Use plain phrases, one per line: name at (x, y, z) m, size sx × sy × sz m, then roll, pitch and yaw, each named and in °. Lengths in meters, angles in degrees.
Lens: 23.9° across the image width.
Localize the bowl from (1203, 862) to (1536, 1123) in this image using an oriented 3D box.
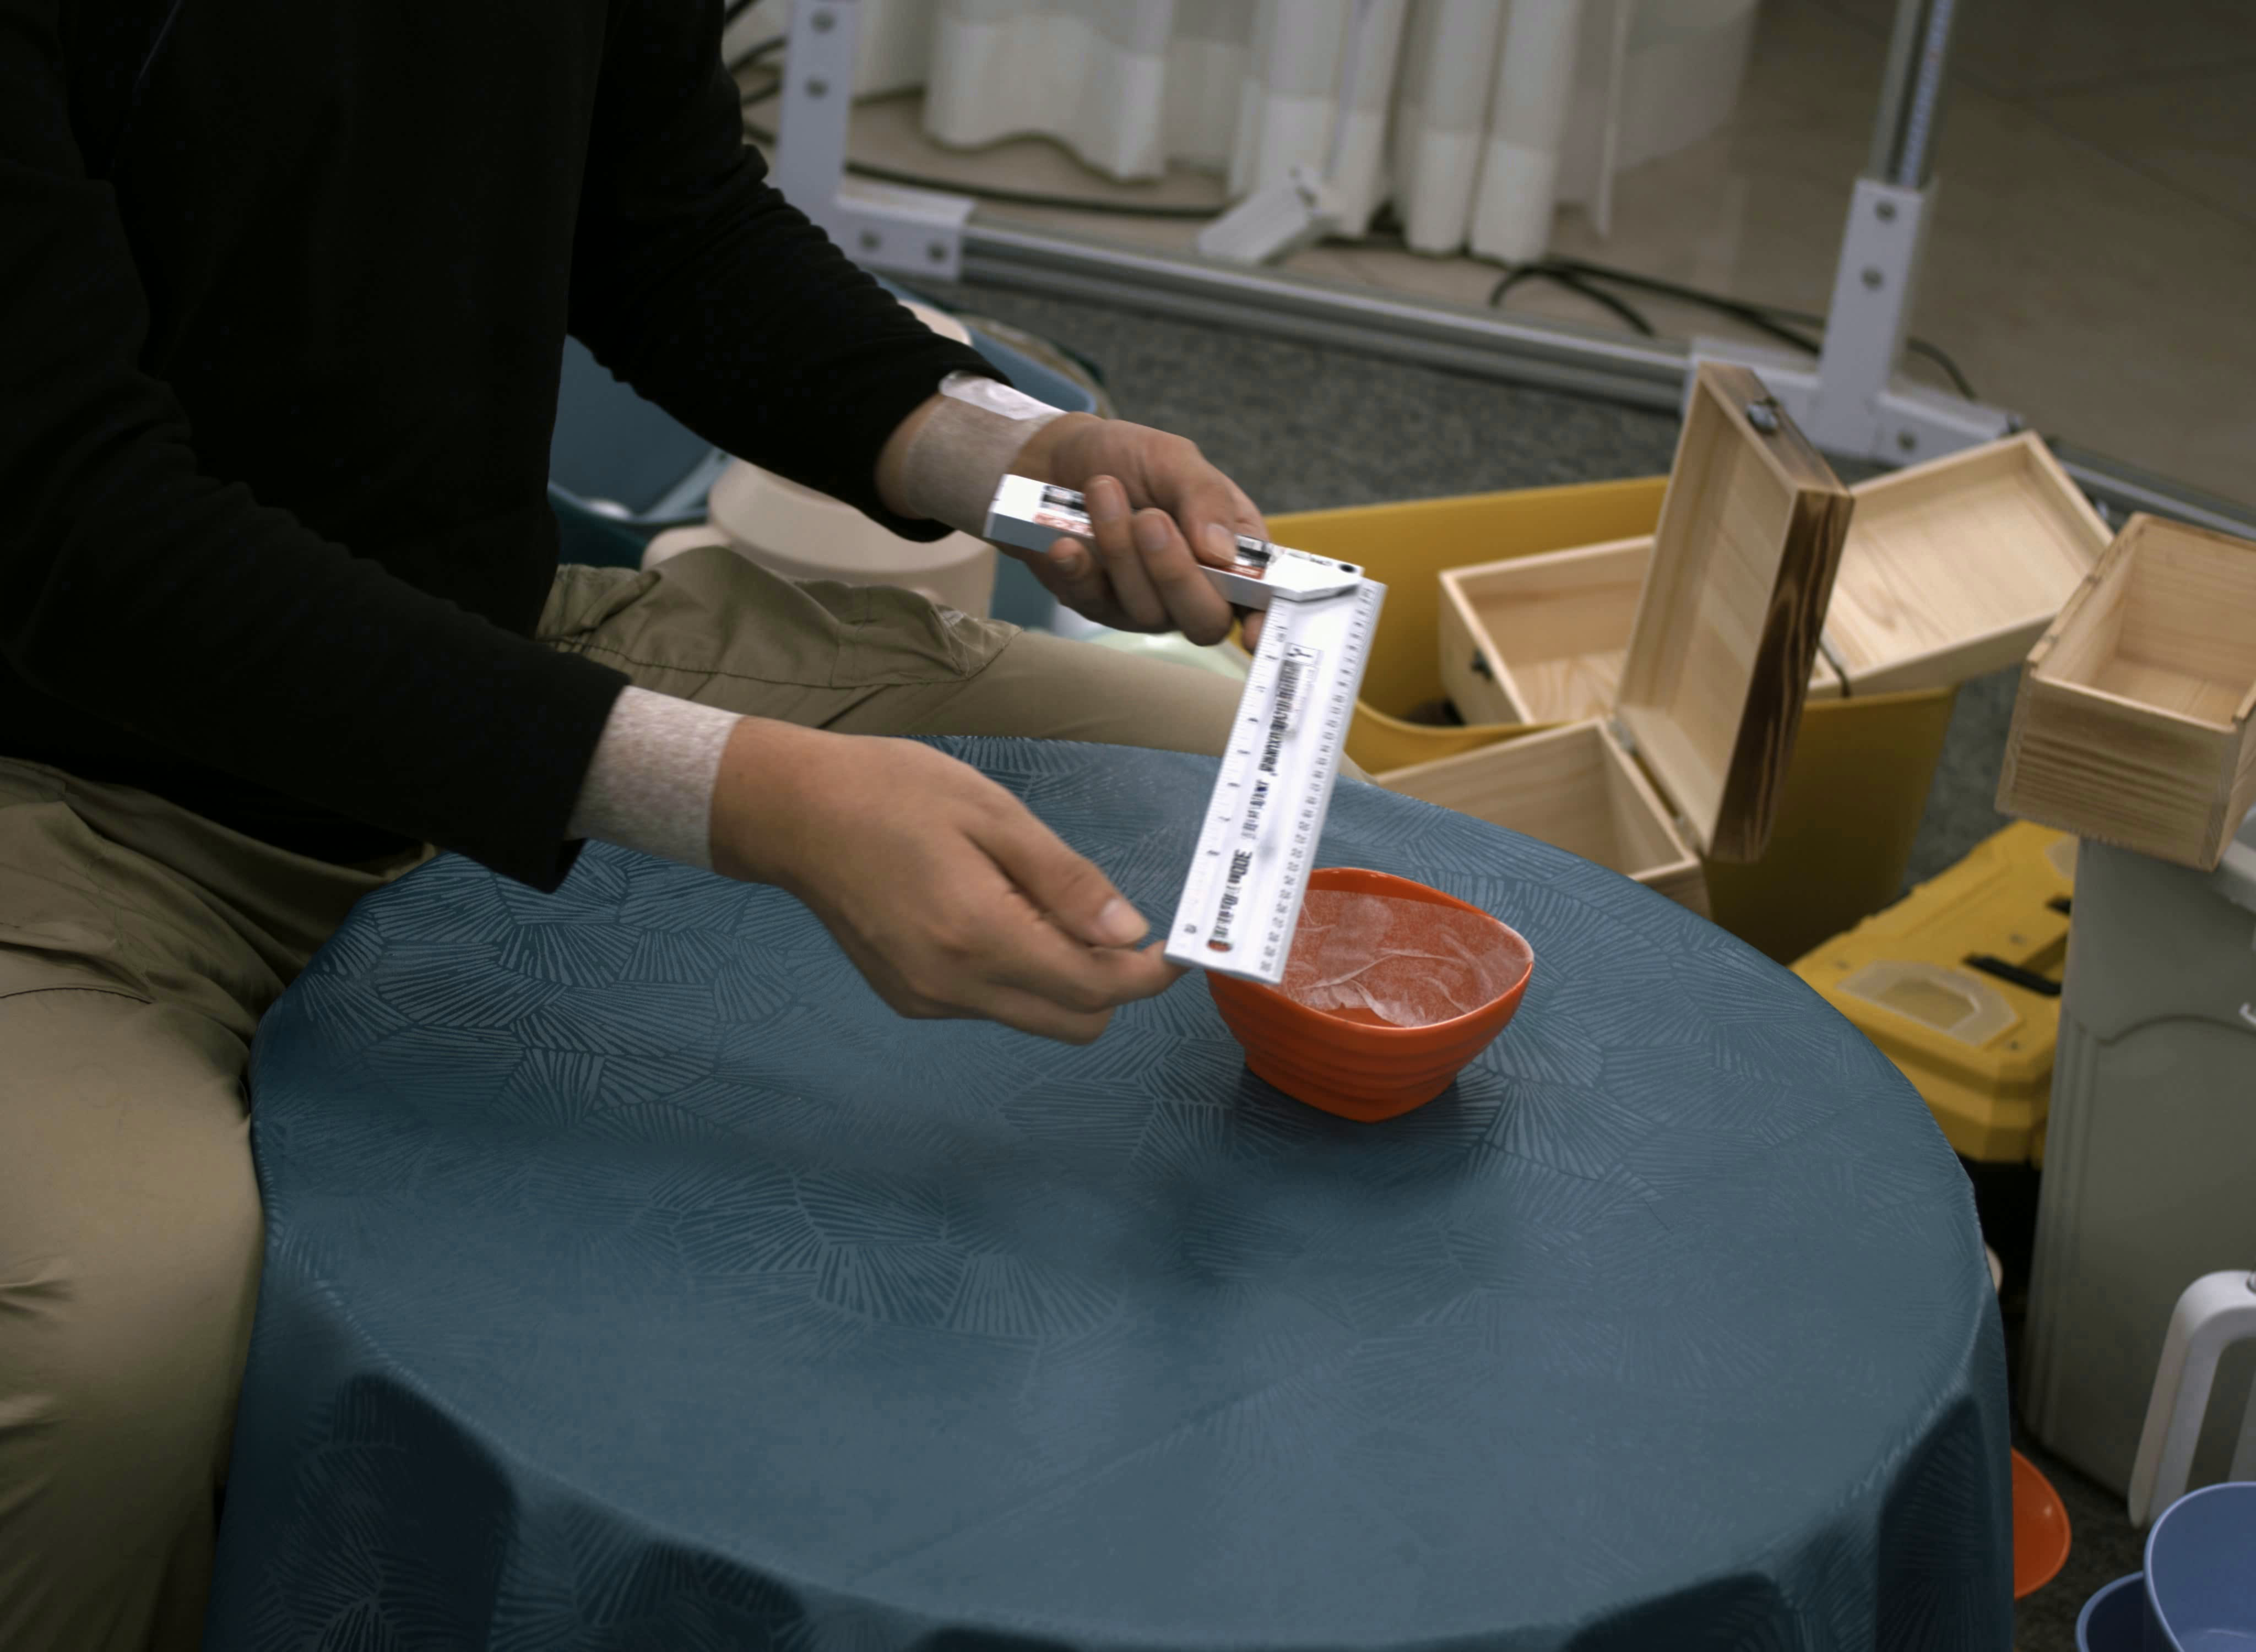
bowl at (0.082, 0.063, 1.881) m, size 0.118 × 0.051 × 0.119 m, roll 5°, pitch 29°, yaw -3°

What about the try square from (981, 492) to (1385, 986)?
try square at (0.001, -0.036, 1.893) m, size 0.152 × 0.016 × 0.314 m, roll 11°, pitch 29°, yaw 4°
